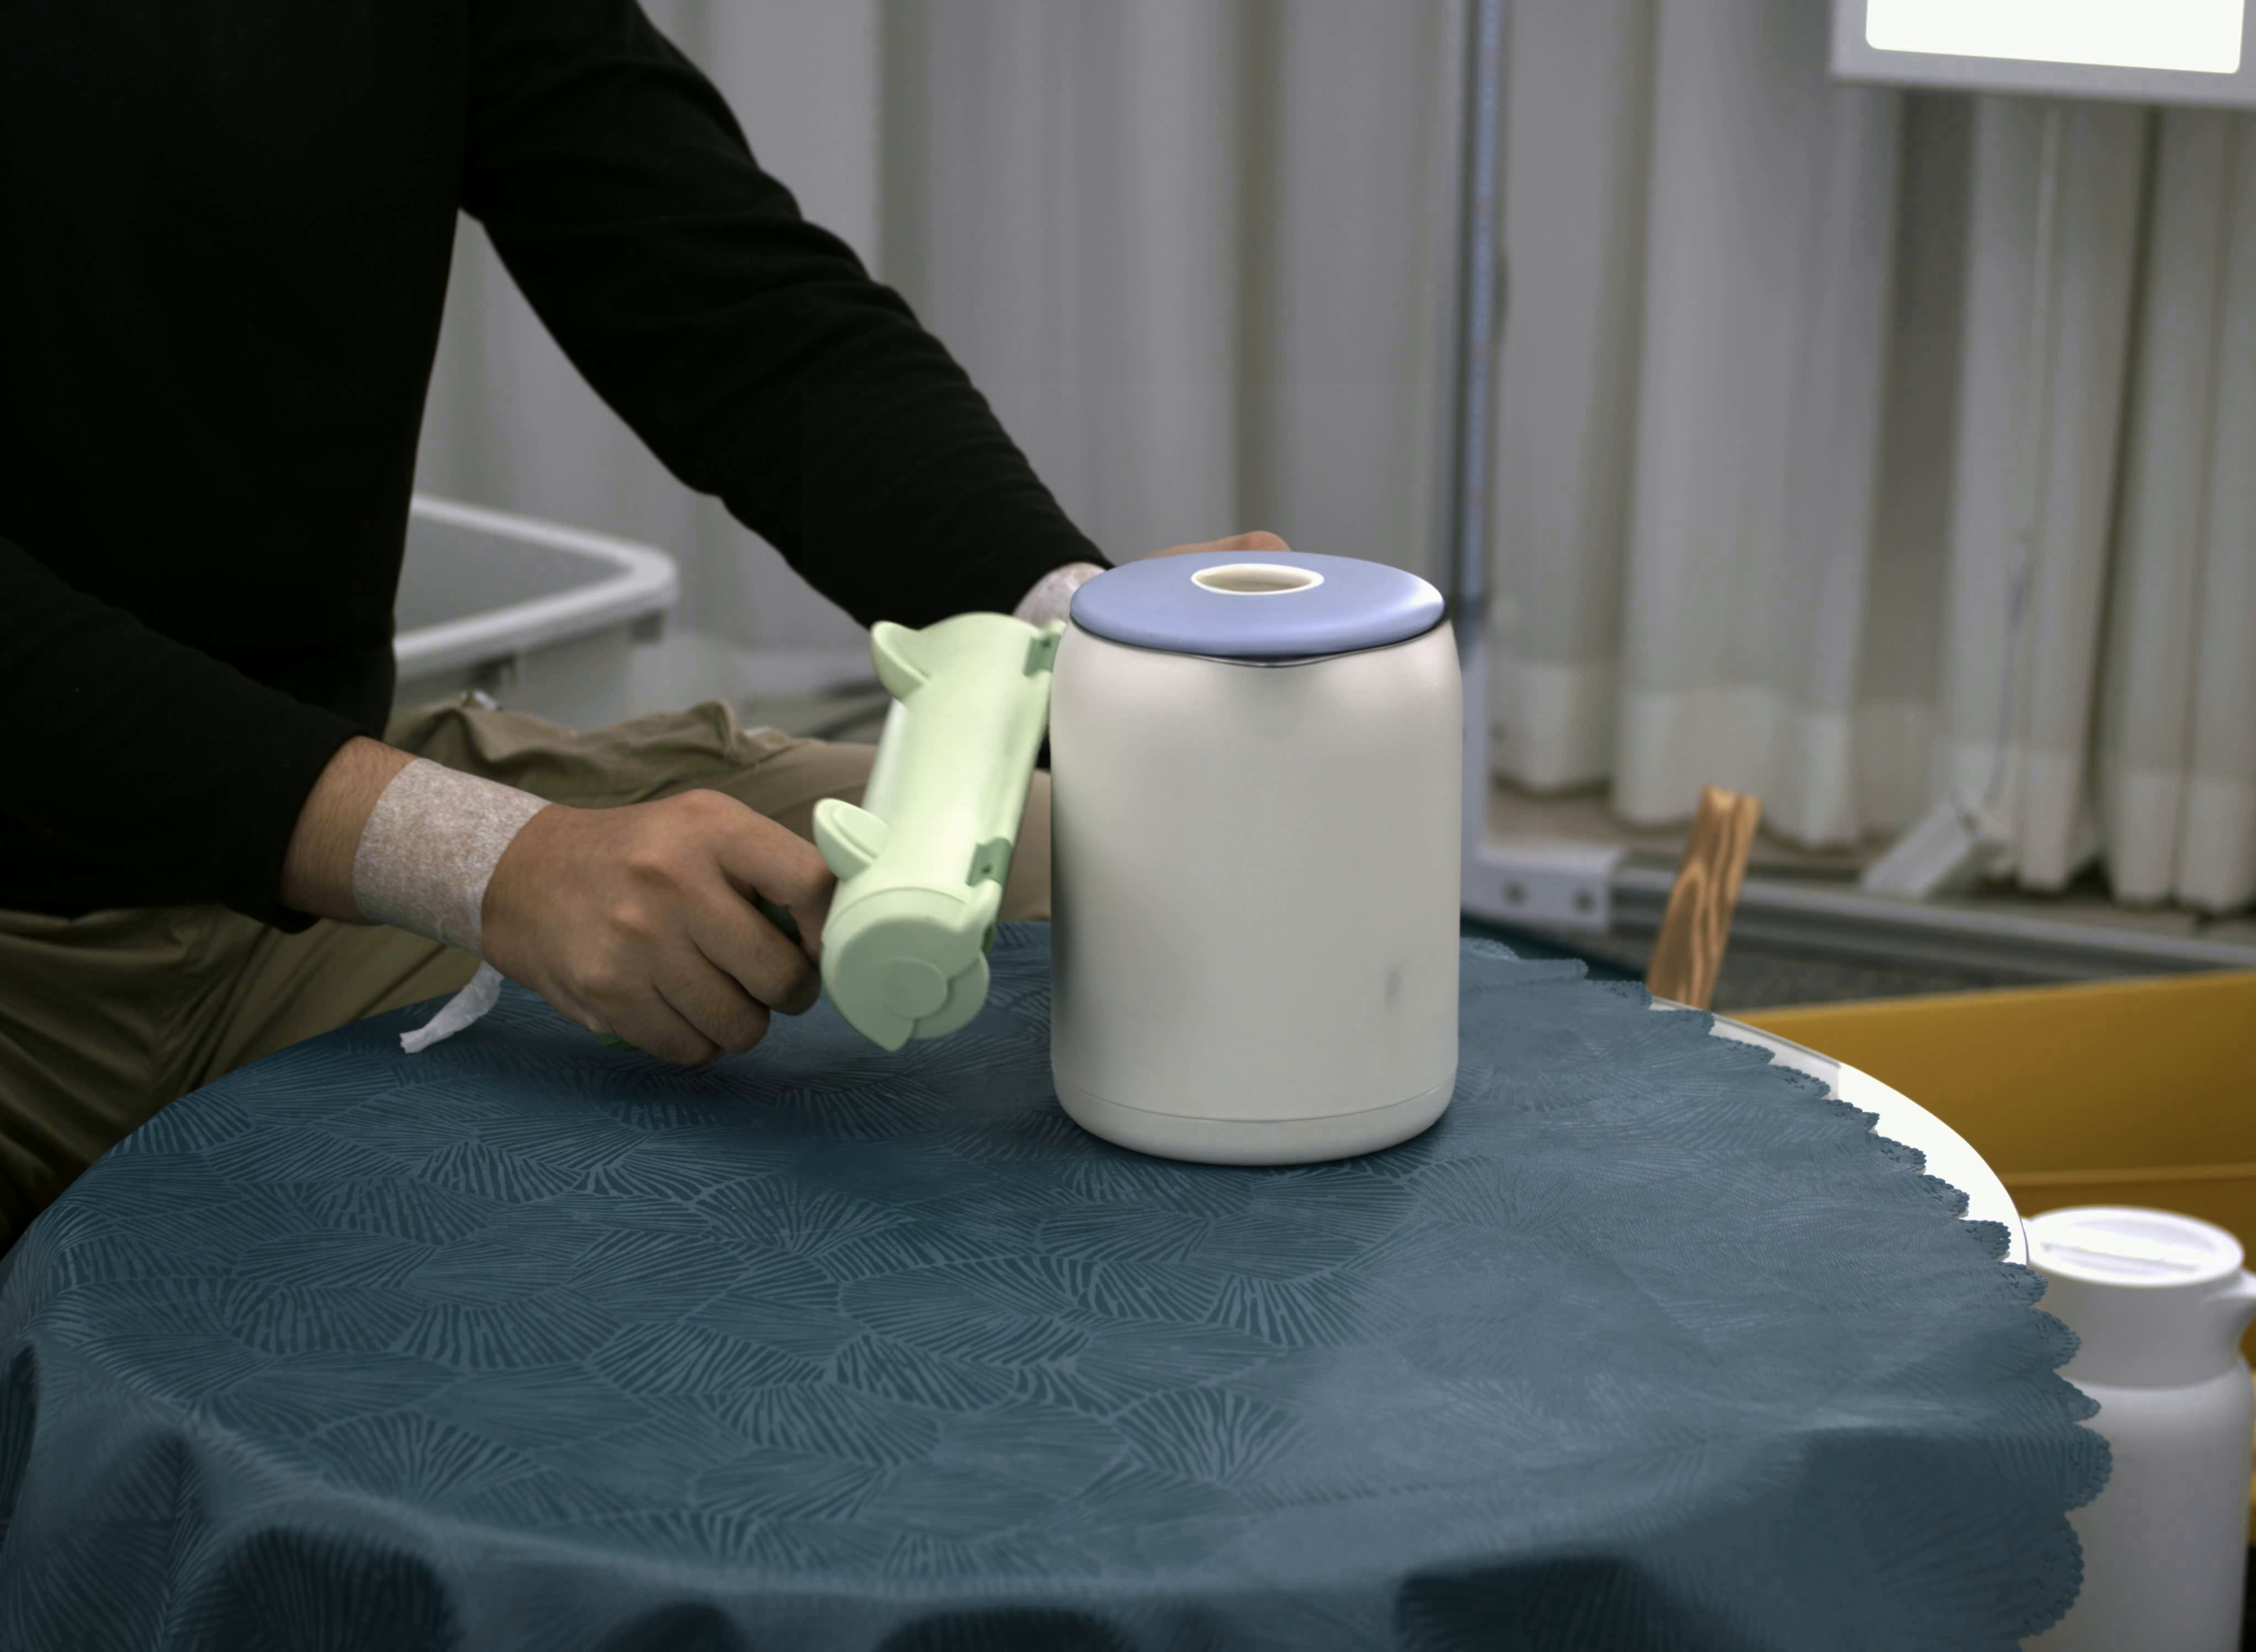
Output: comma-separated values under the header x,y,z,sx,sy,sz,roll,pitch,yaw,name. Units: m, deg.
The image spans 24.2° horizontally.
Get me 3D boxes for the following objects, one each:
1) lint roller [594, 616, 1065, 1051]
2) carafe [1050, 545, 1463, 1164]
x,y,z,sx,sy,sz,roll,pitch,yaw,name
-0.108,0.012,1.696,0.182,0.083,0.197,-21,25,18,lint roller
0.038,0.002,1.696,0.132,0.184,0.190,-1,14,-6,carafe
